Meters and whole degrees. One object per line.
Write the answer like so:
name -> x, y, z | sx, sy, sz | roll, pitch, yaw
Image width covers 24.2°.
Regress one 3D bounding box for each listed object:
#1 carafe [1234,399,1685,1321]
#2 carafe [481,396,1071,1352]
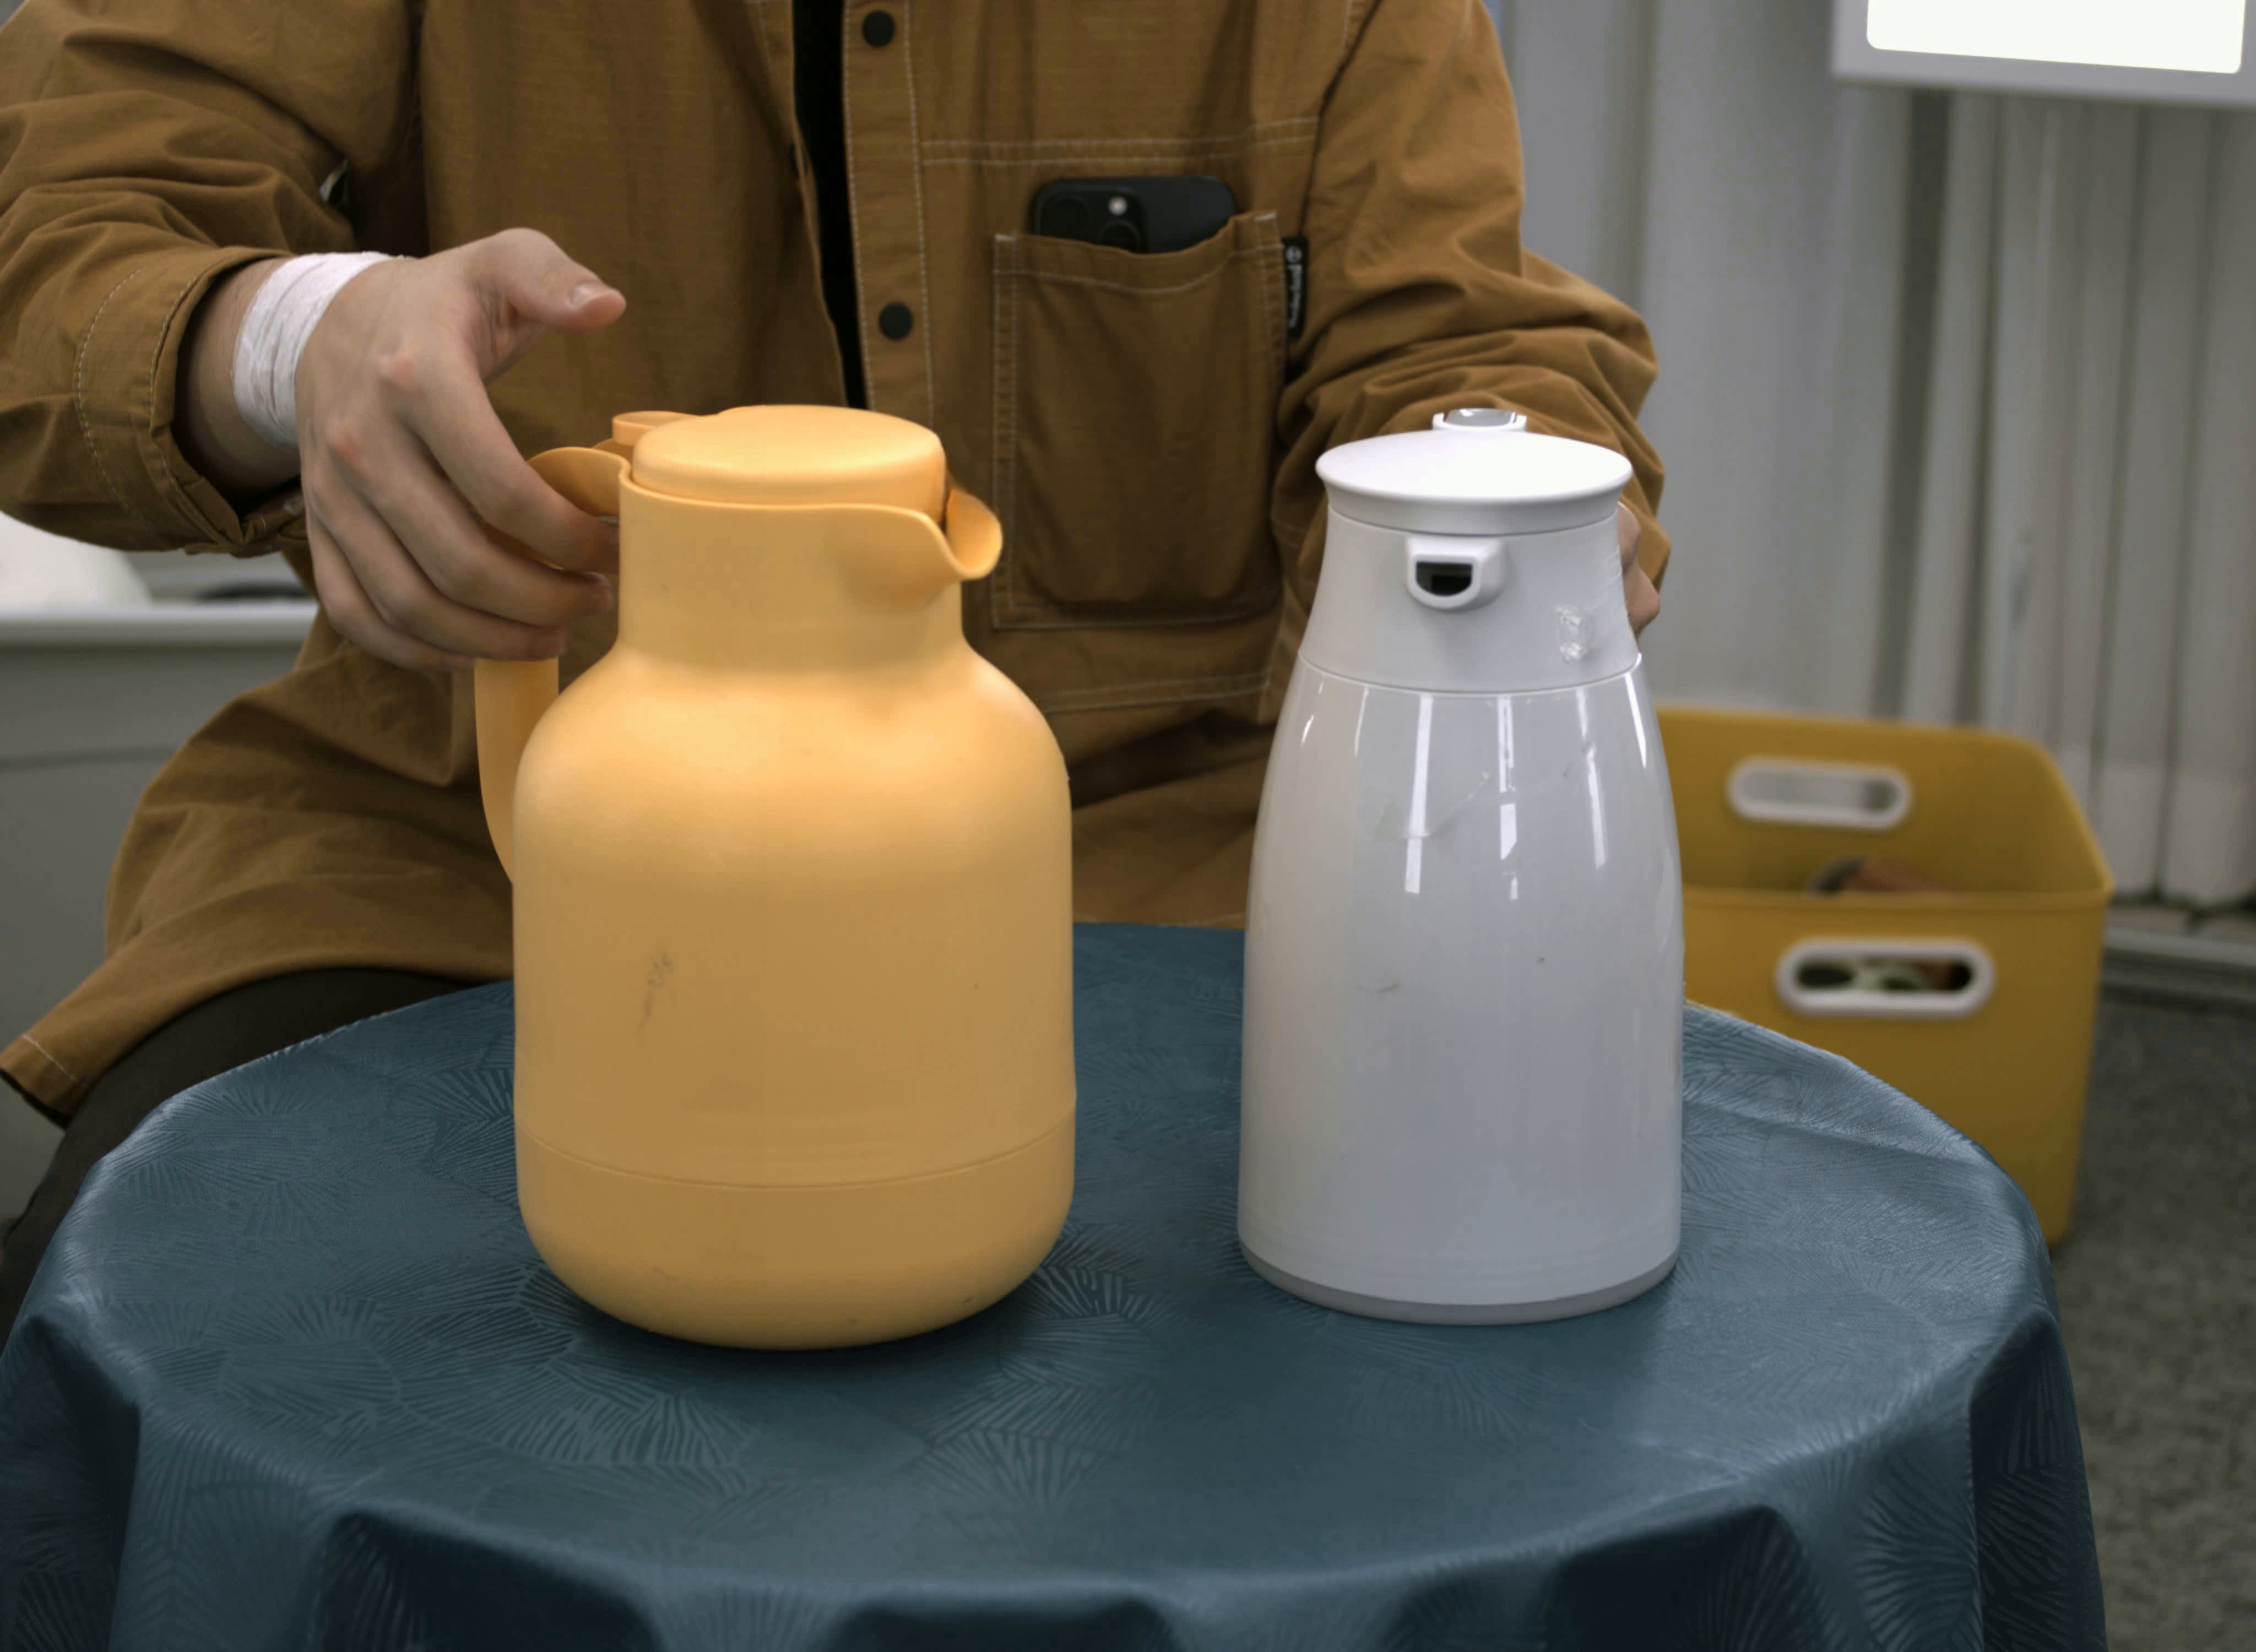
carafe -> 0.101, 0.001, 1.558 | 0.132, 0.250, 0.167 | 3, 16, 9
carafe -> -0.109, 0.005, 1.517 | 0.199, 0.262, 0.164 | 16, 20, 40
